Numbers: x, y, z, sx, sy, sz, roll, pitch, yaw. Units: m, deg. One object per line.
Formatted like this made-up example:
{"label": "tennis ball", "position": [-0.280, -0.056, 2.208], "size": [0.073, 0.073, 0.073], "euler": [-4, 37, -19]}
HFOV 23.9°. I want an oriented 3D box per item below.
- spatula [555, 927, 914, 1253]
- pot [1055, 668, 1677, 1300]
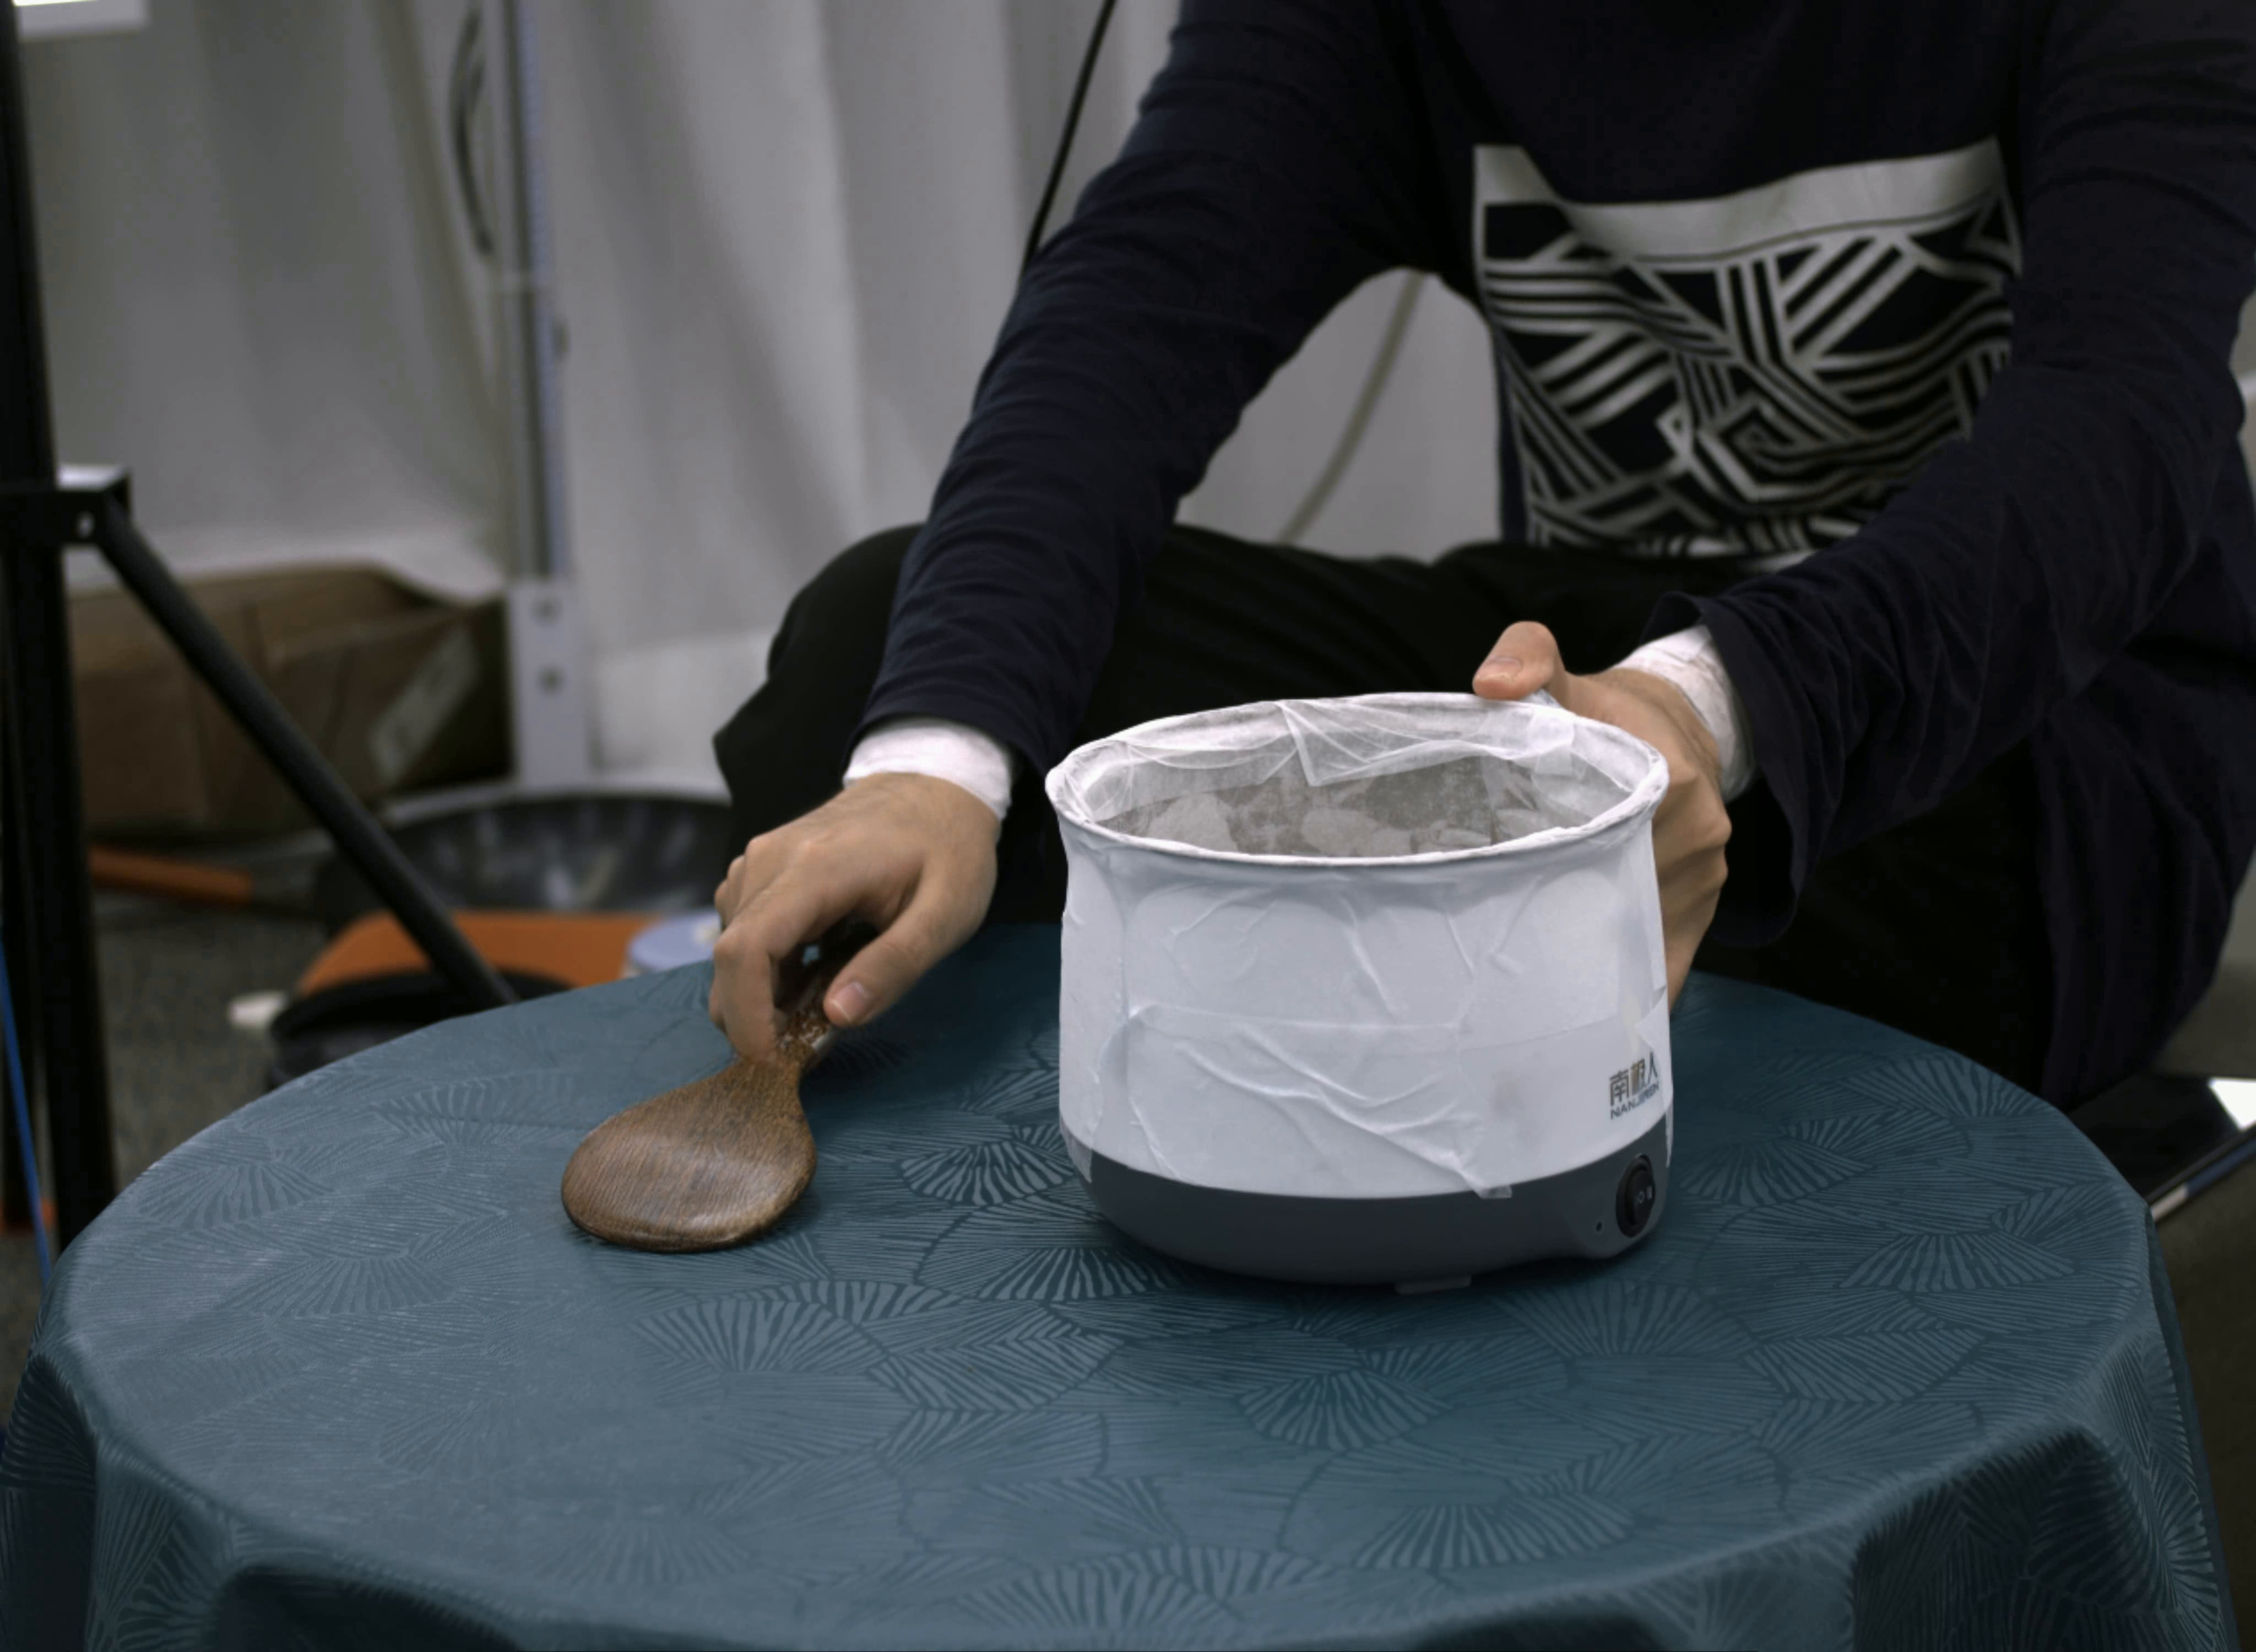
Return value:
{"label": "spatula", "position": [-0.107, 0.077, 1.622], "size": [0.072, 0.009, 0.214], "euler": [8, 26, 17]}
{"label": "pot", "position": [0.081, 0.038, 1.540], "size": [0.182, 0.136, 0.229], "euler": [10, 21, 29]}
